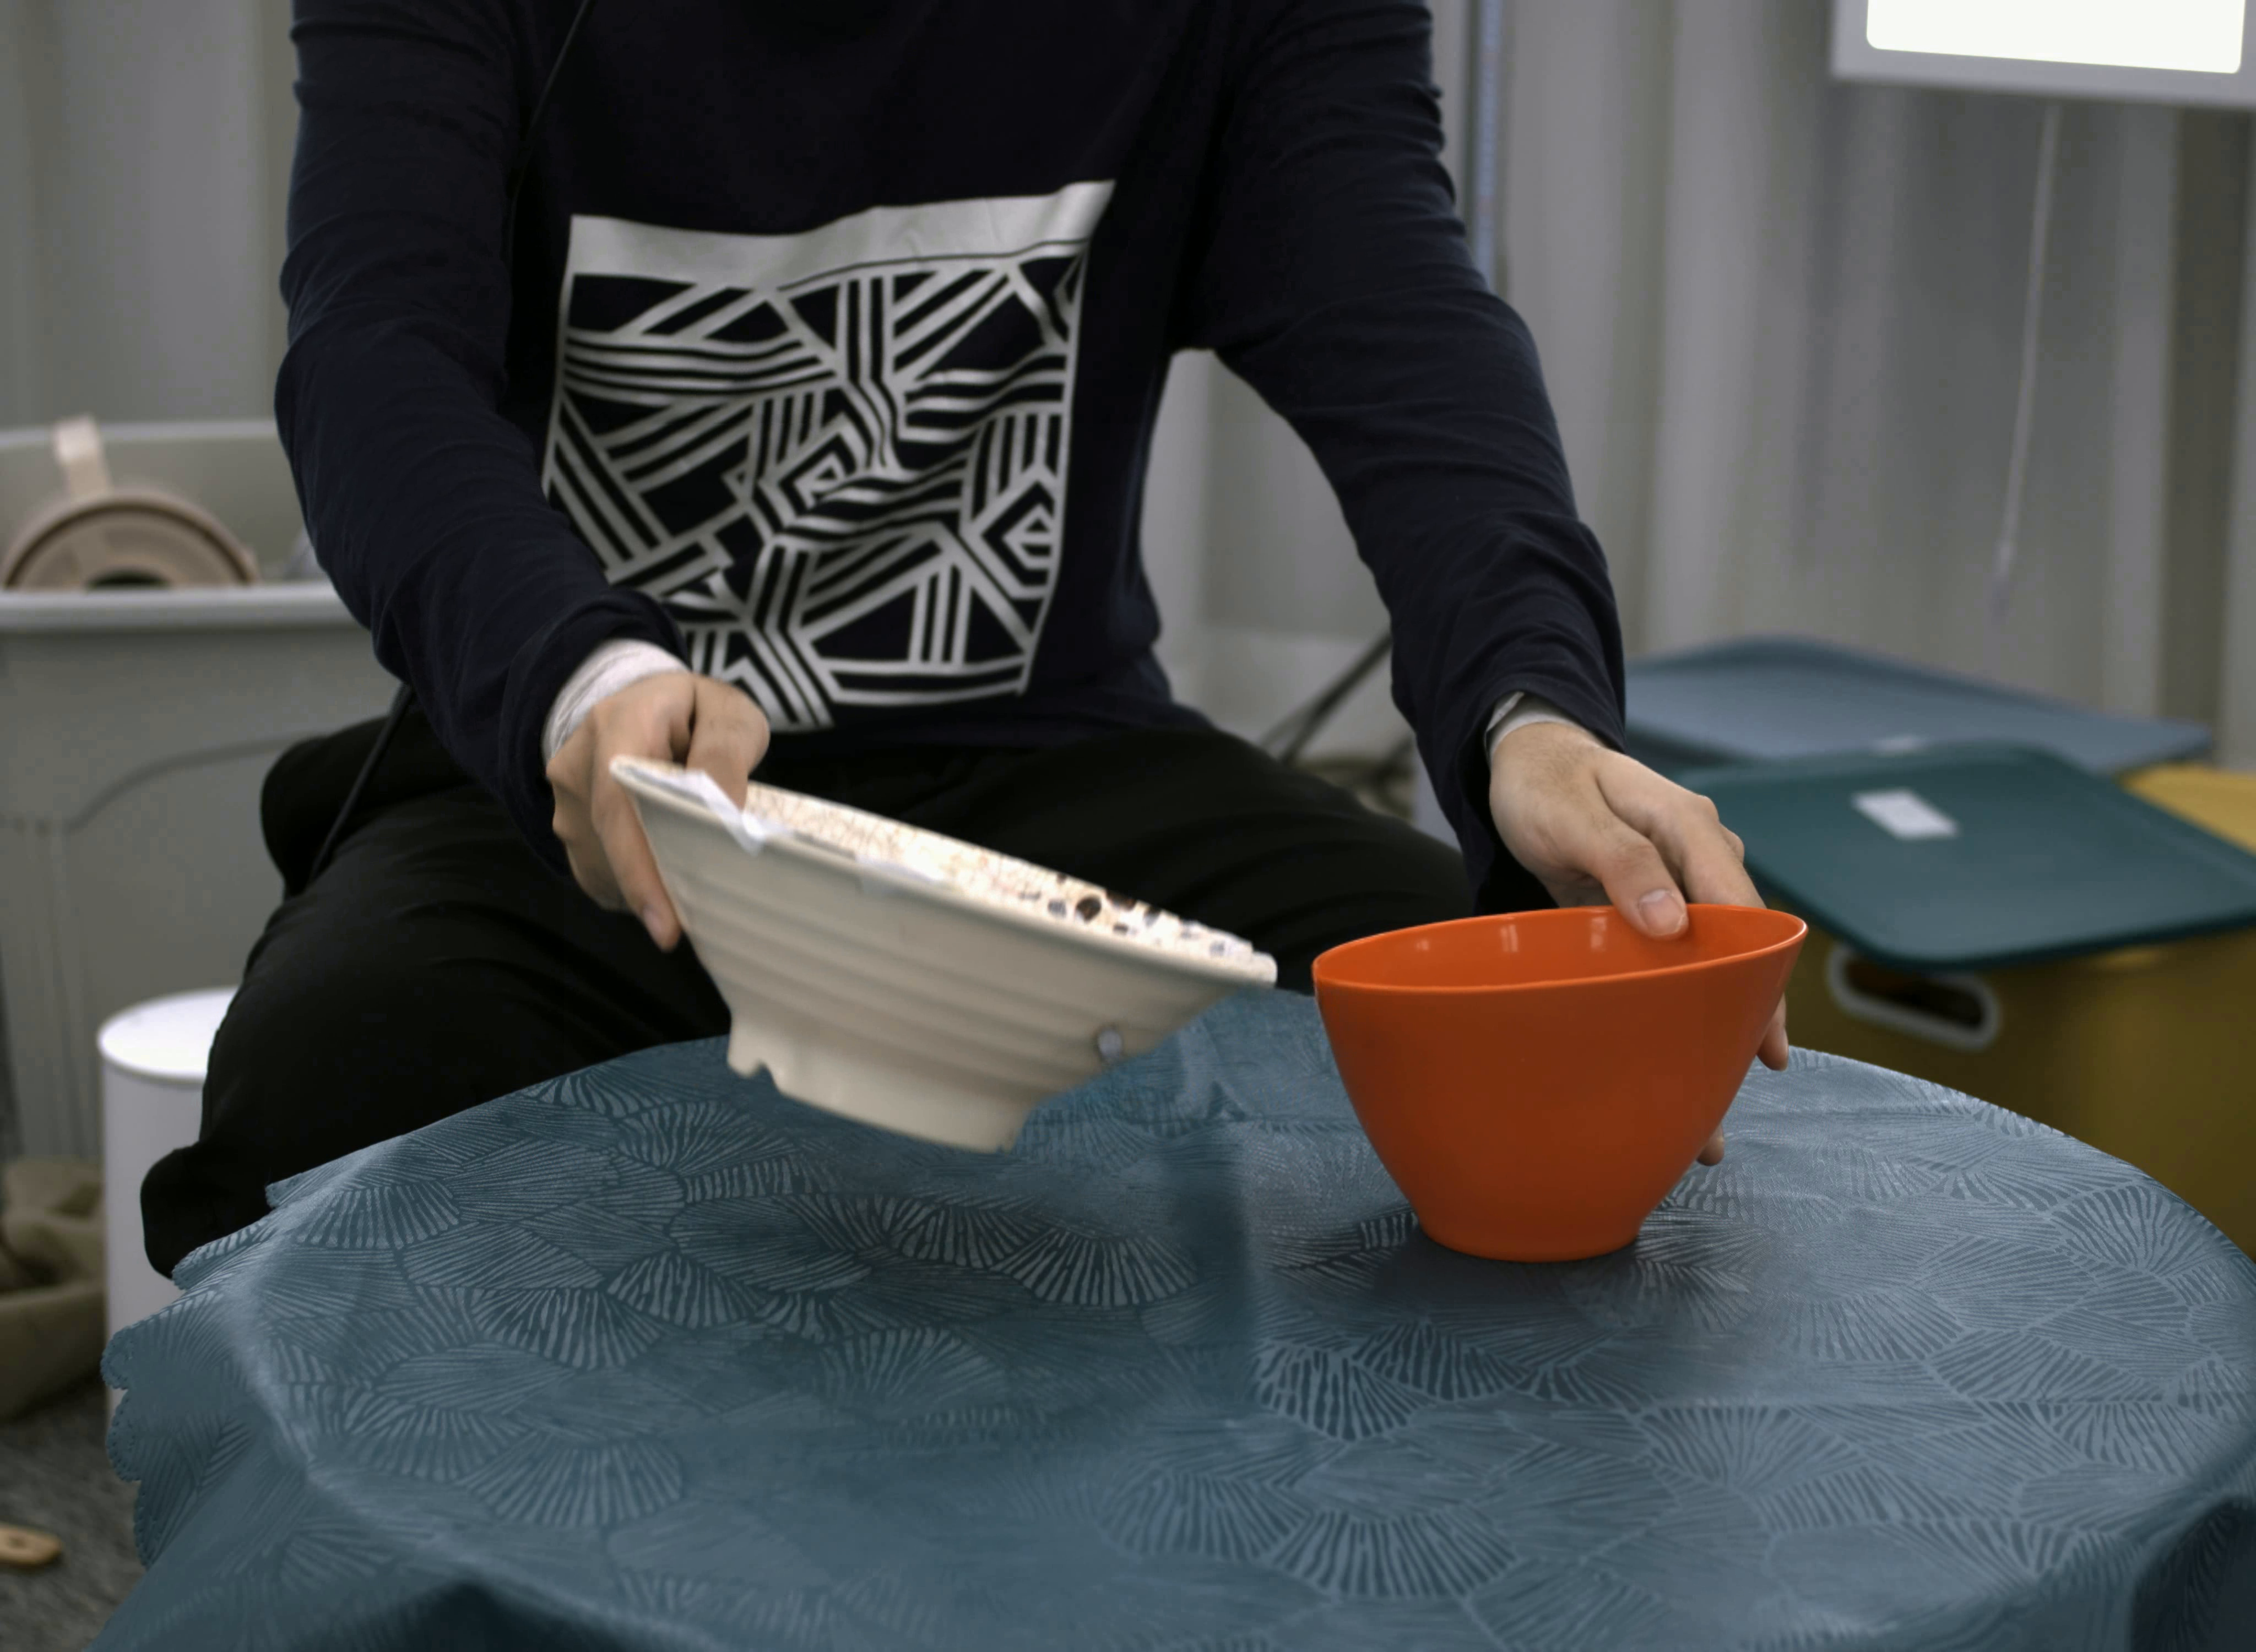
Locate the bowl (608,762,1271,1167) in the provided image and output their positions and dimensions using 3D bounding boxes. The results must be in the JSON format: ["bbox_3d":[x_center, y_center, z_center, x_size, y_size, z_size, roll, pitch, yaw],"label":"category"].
[{"bbox_3d":[-0.065,0.049,1.532,0.203,0.078,0.204,18,2,0],"label":"bowl"}]

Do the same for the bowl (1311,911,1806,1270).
[{"bbox_3d":[0.127,0.076,1.573,0.147,0.105,0.147,0,14,1],"label":"bowl"}]
